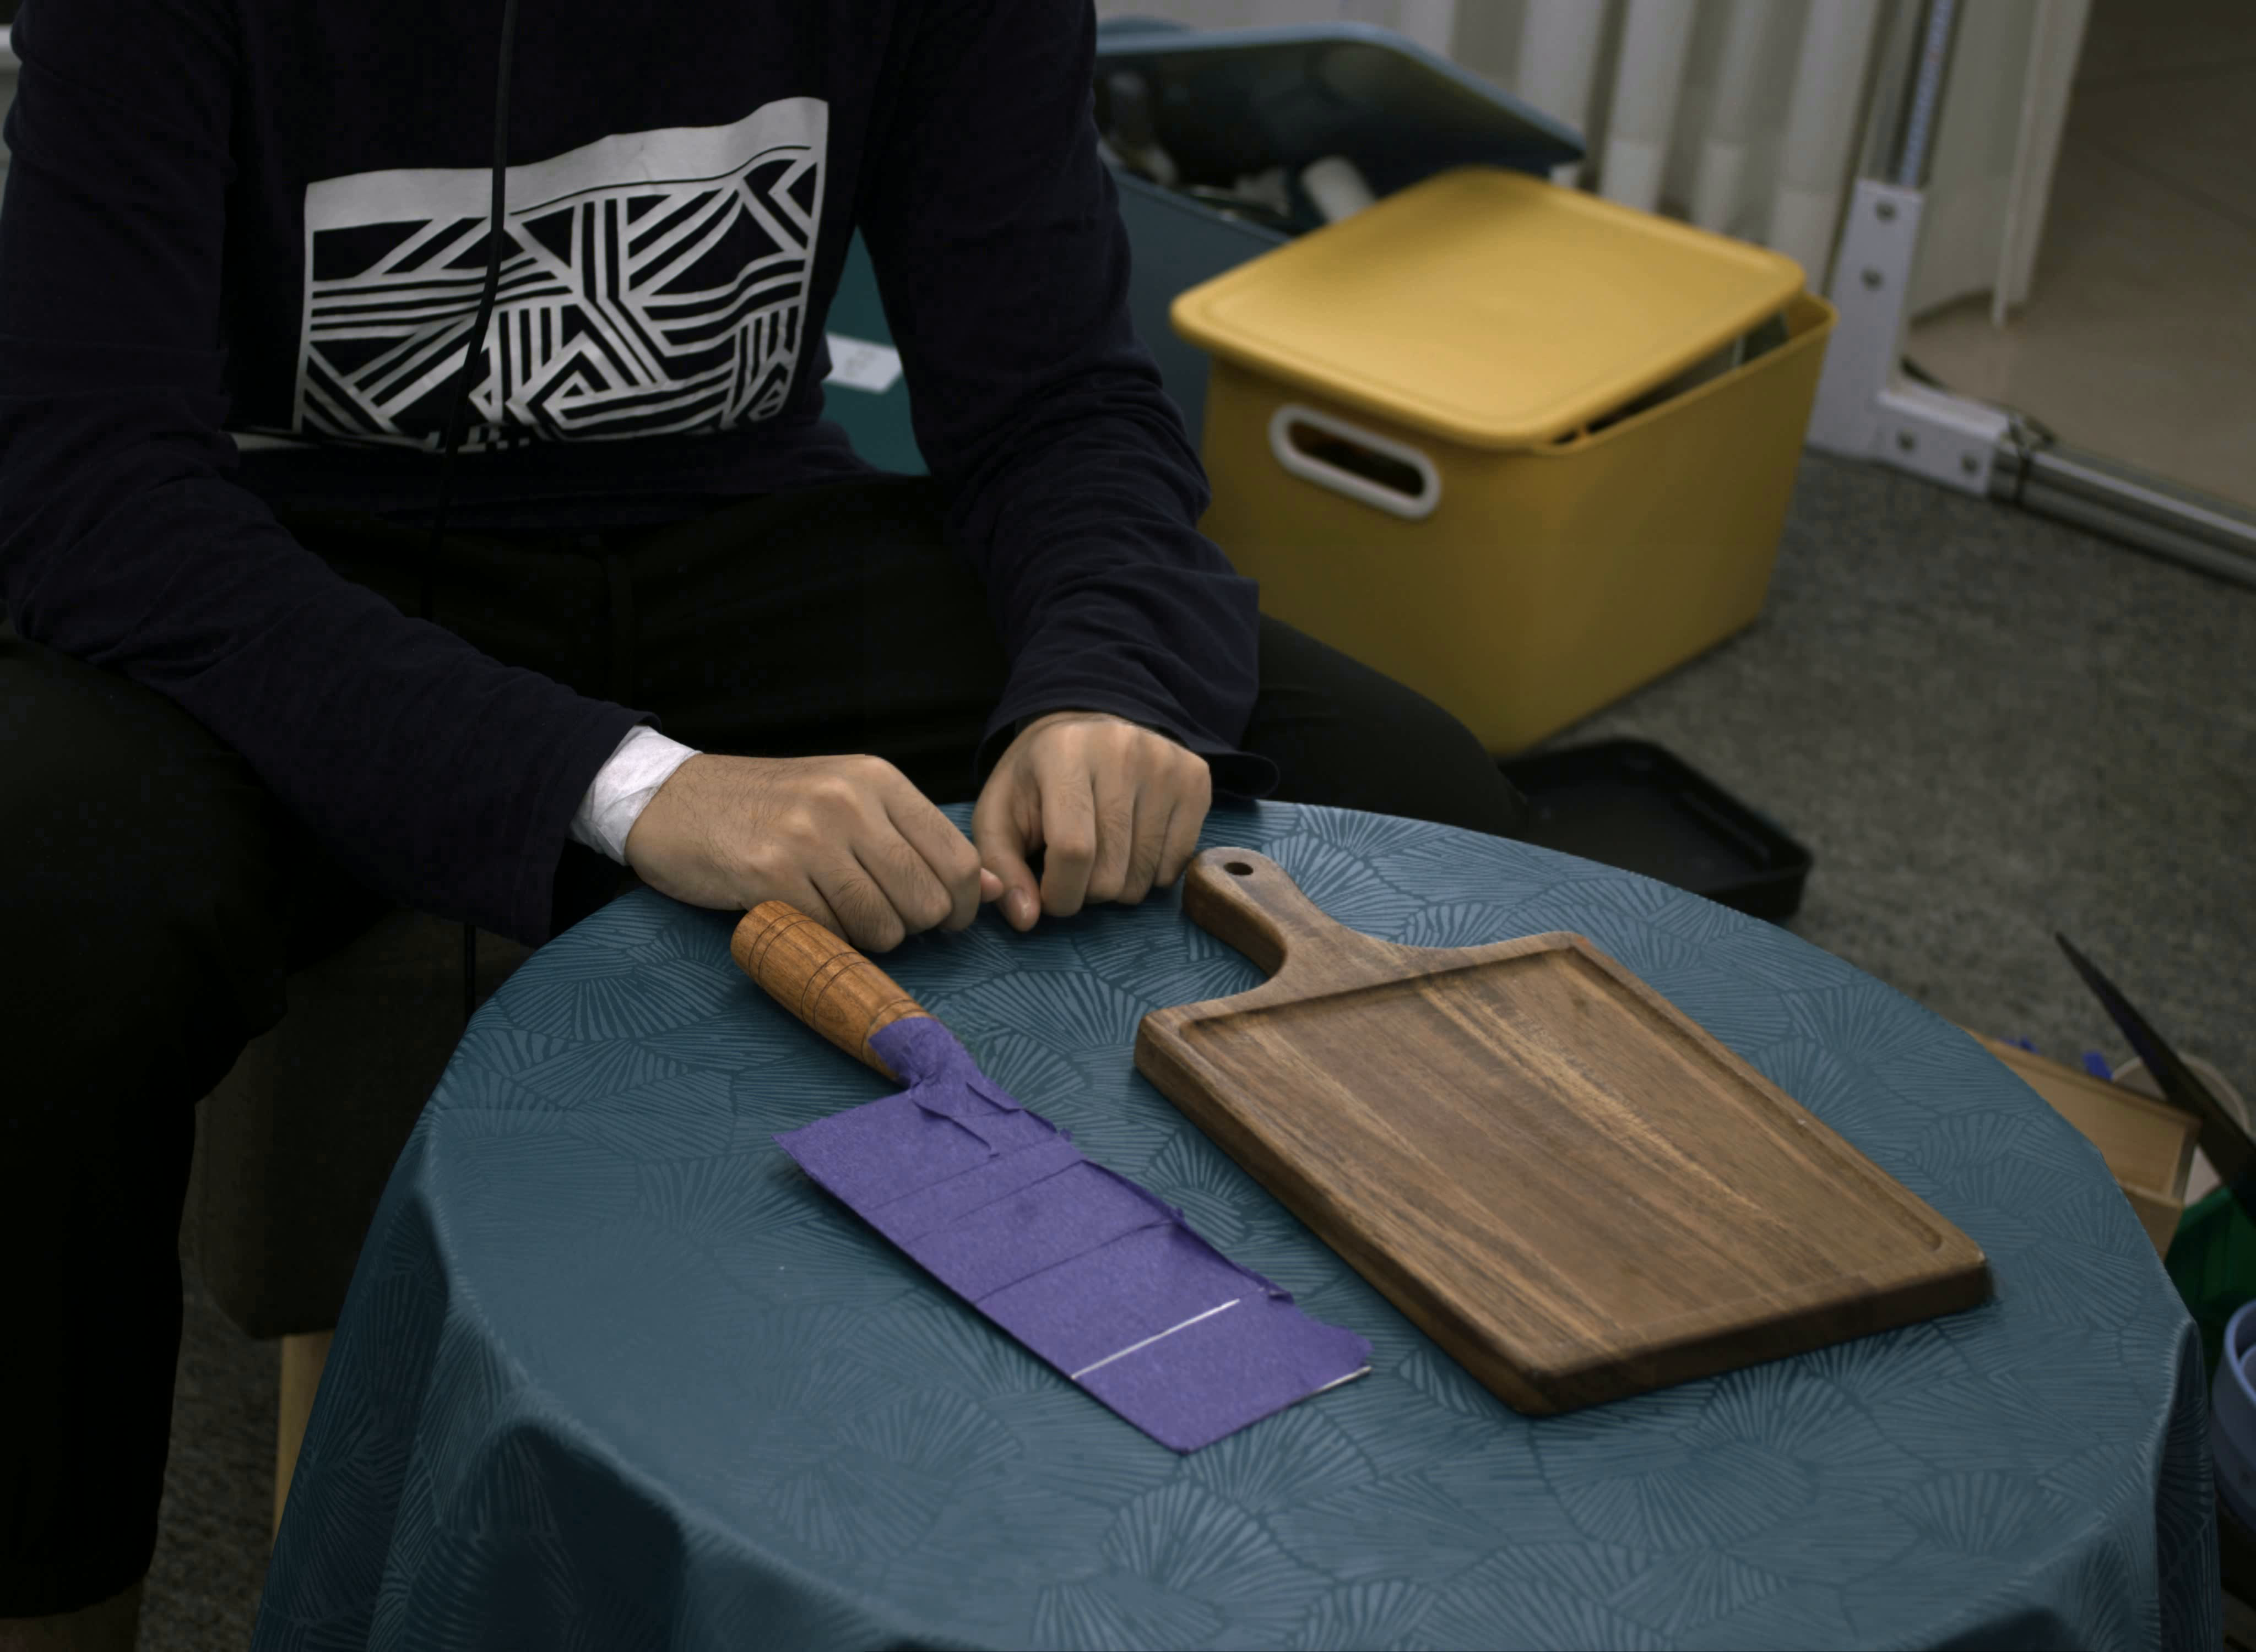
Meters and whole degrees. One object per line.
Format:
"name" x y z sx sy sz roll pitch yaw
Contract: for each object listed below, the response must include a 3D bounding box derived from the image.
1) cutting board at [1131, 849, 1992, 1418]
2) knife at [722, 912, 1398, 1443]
"cutting board" 0.121 0.093 1.872 0.200 0.023 0.355 -10 31 -30
"knife" -0.052 0.114 1.784 0.103 0.032 0.318 -17 36 -39
